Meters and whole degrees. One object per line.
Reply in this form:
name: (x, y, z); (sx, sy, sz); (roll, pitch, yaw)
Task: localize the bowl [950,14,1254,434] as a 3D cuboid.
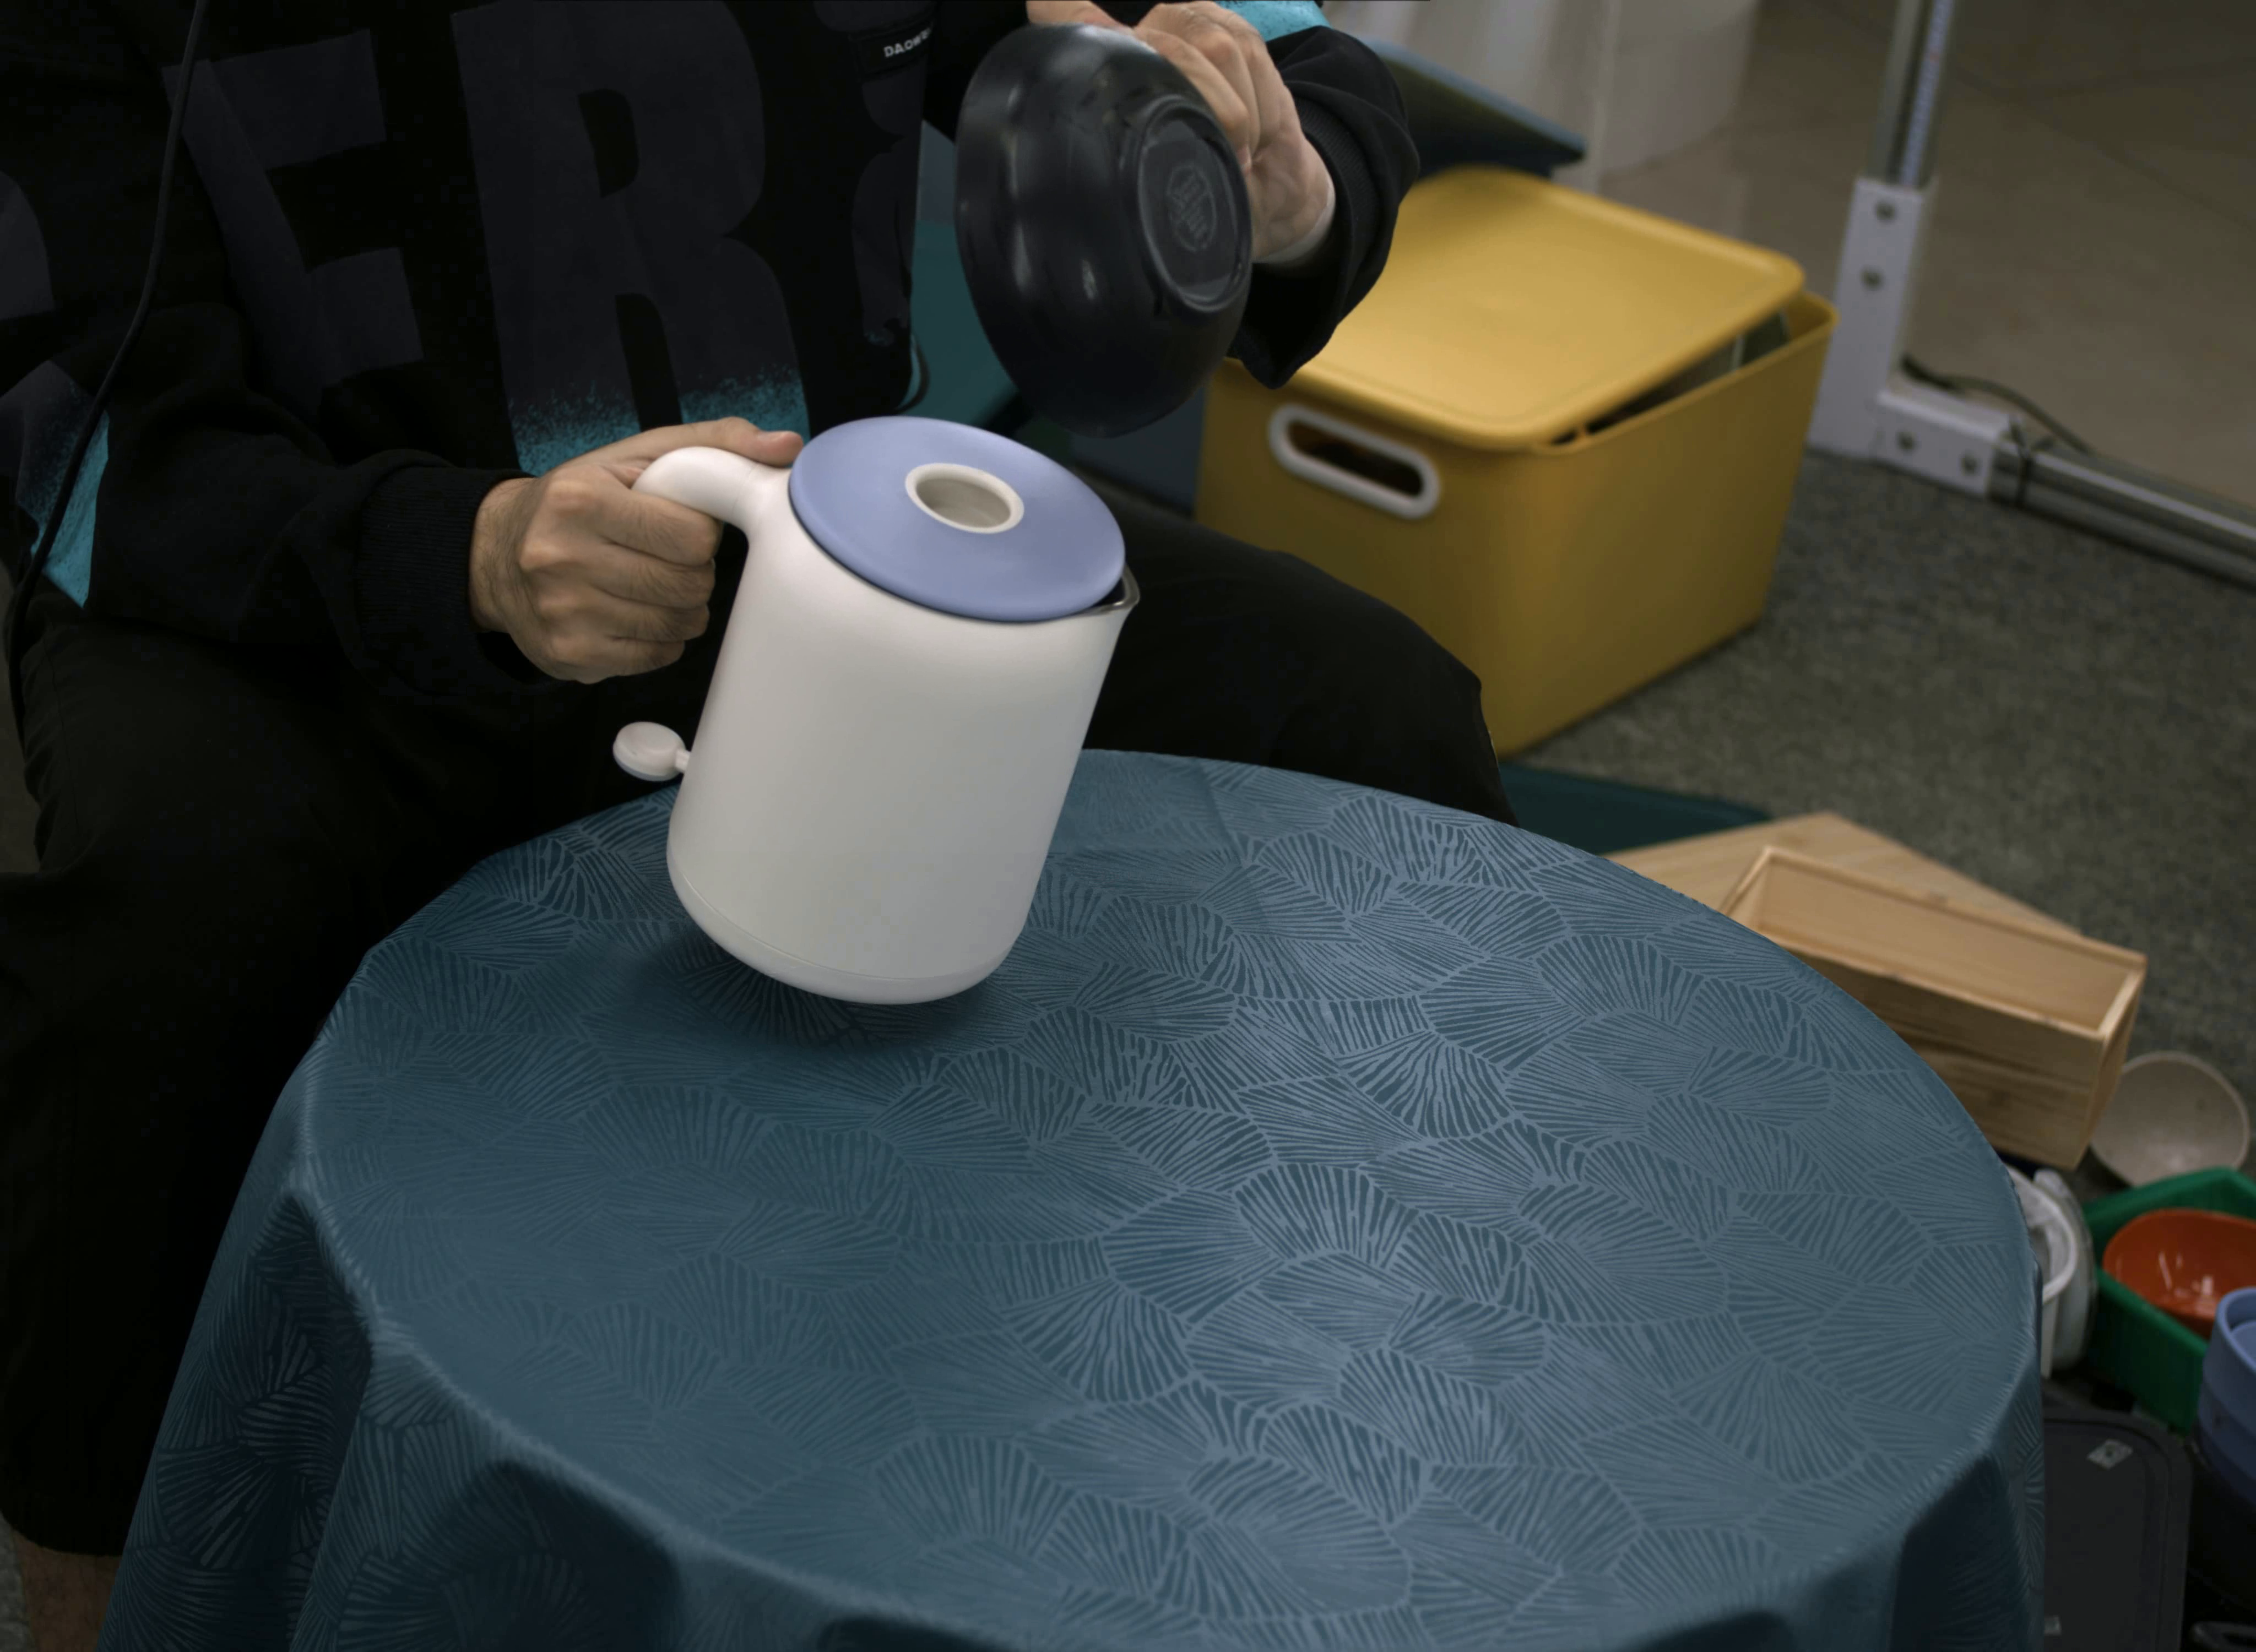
bowl: (0.002, -0.200, 1.738); (0.050, 0.140, 0.140); (-8, 15, 35)

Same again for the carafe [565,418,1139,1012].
carafe: (-0.103, -0.047, 1.856); (0.191, 0.182, 0.132); (20, 30, 8)
